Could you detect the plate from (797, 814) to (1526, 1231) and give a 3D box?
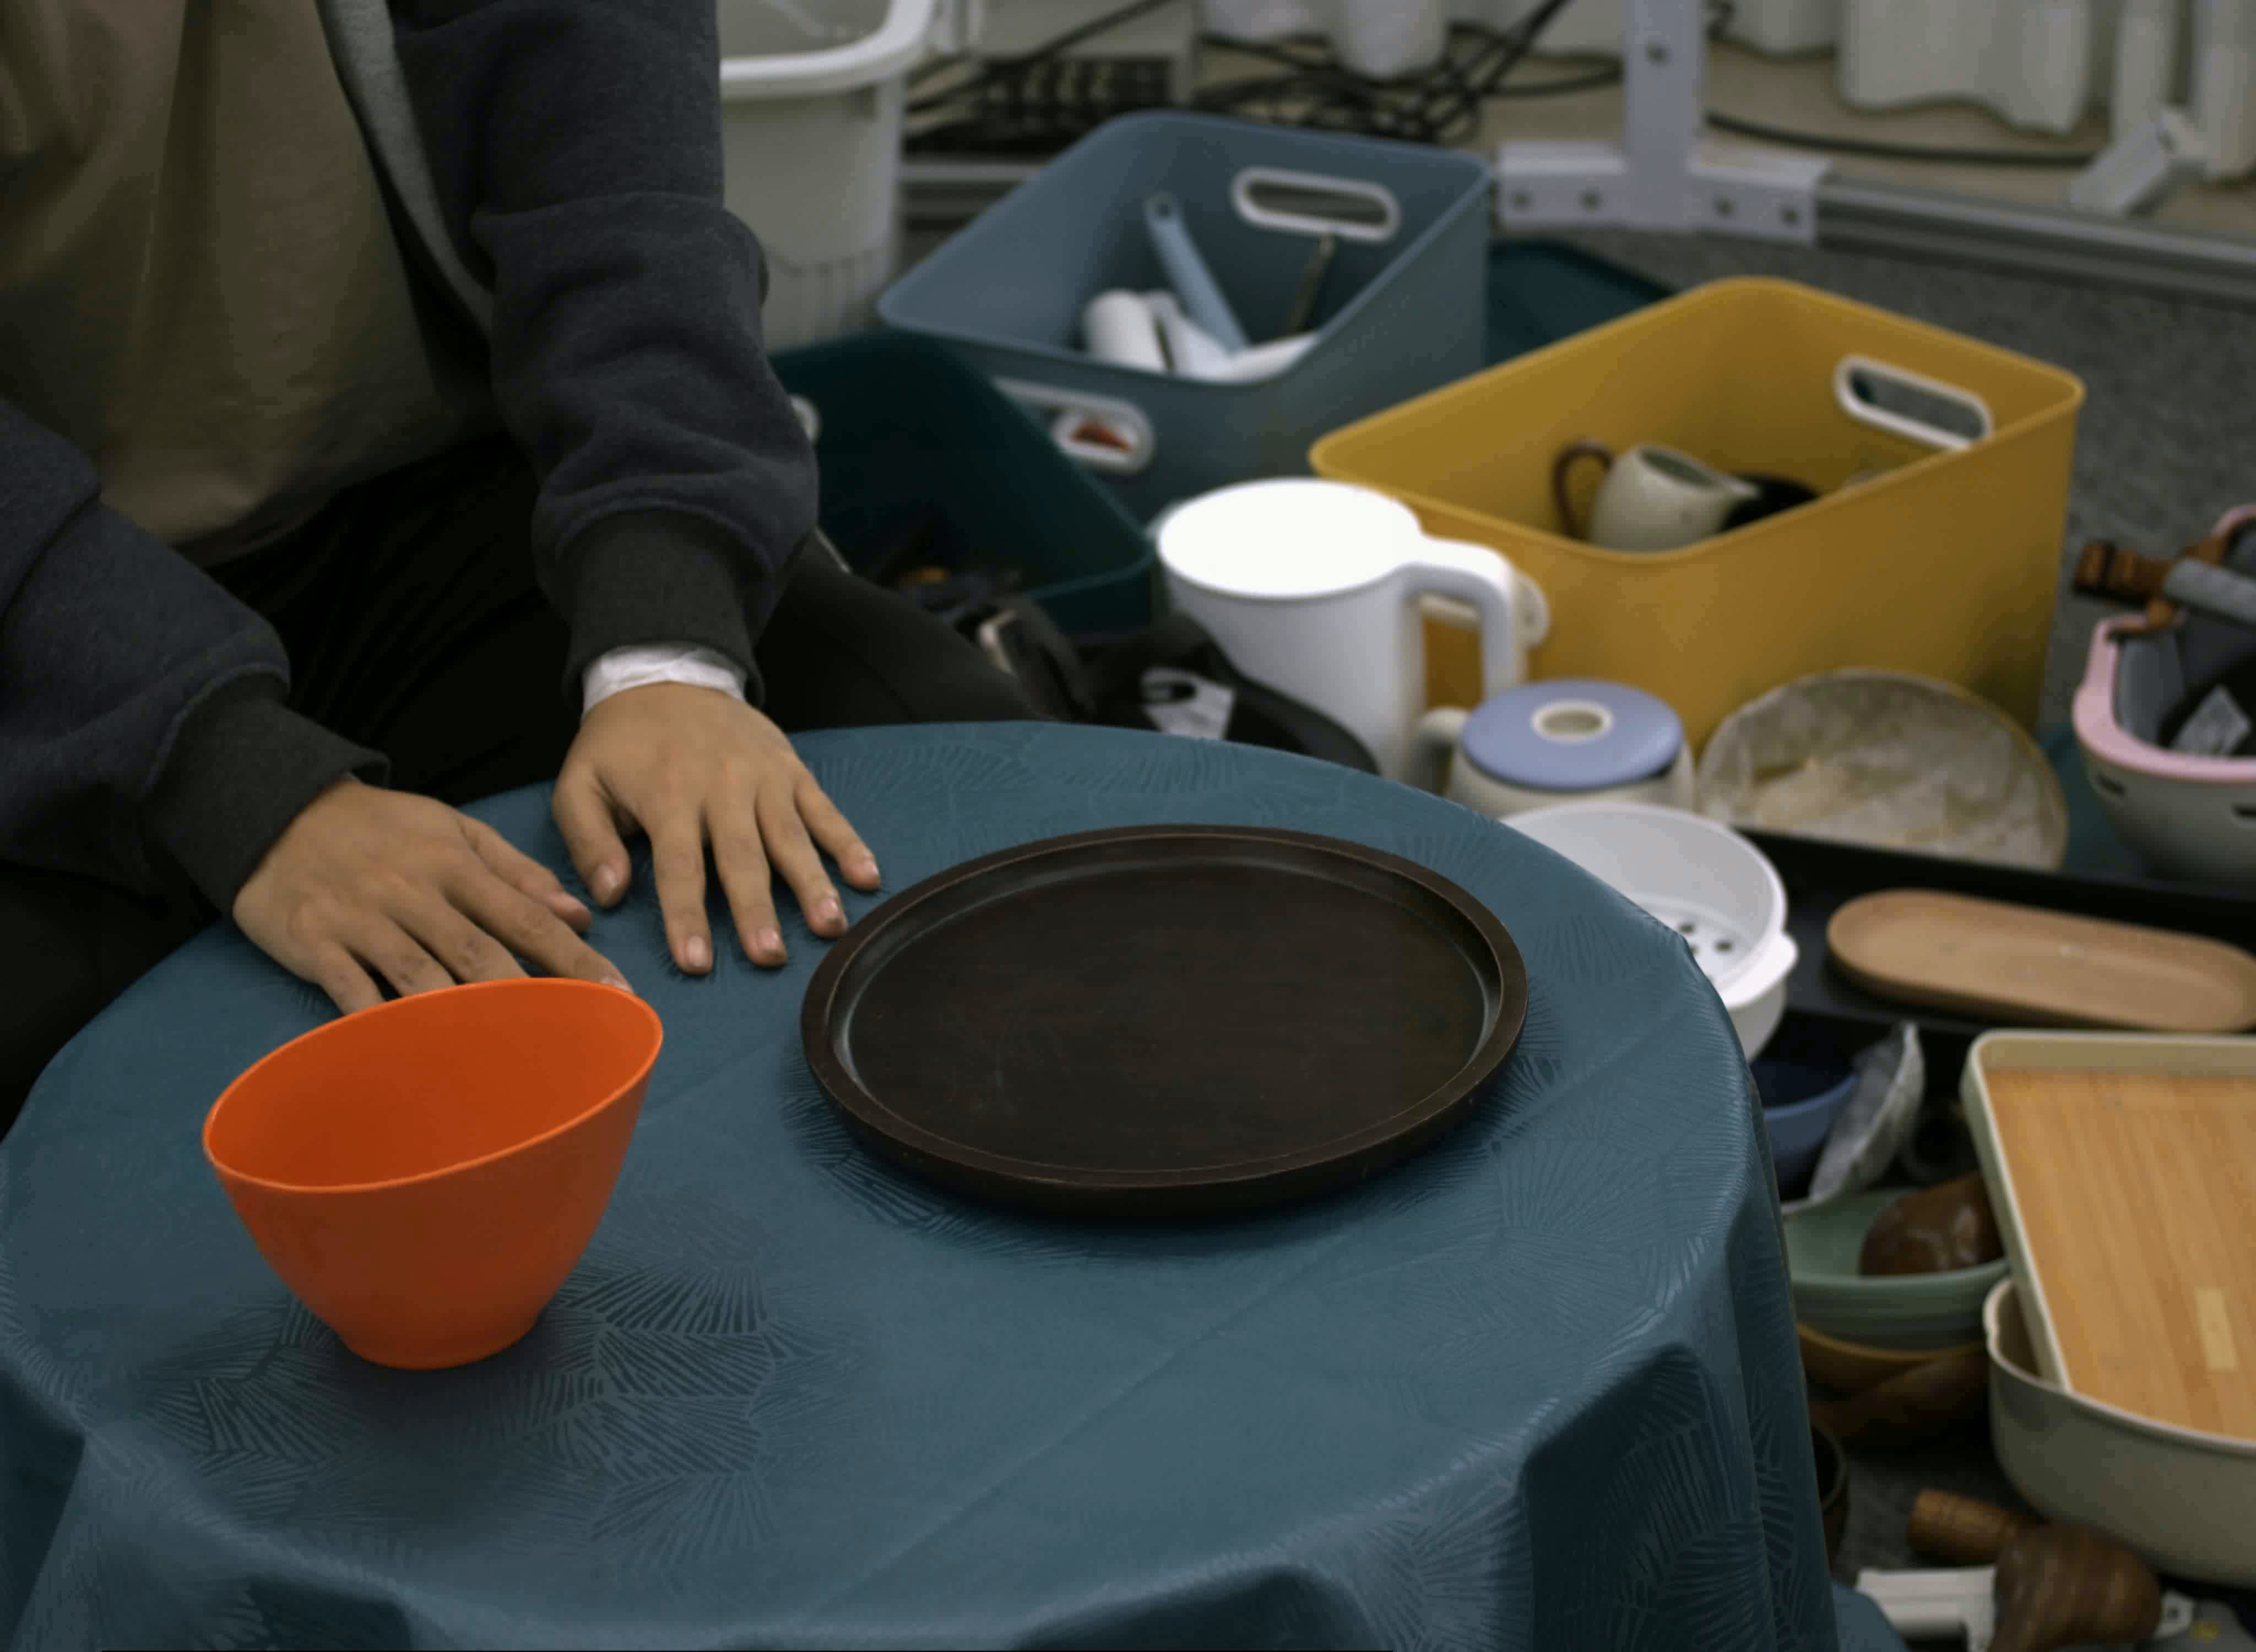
[{"bbox_3d":[0.012,0.068,1.940,0.253,0.029,0.259,-3,28,2],"label":"plate"}]

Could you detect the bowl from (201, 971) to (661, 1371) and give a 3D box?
[{"bbox_3d":[-0.217,0.116,1.785,0.147,0.103,0.150,-3,29,2],"label":"bowl"}]
